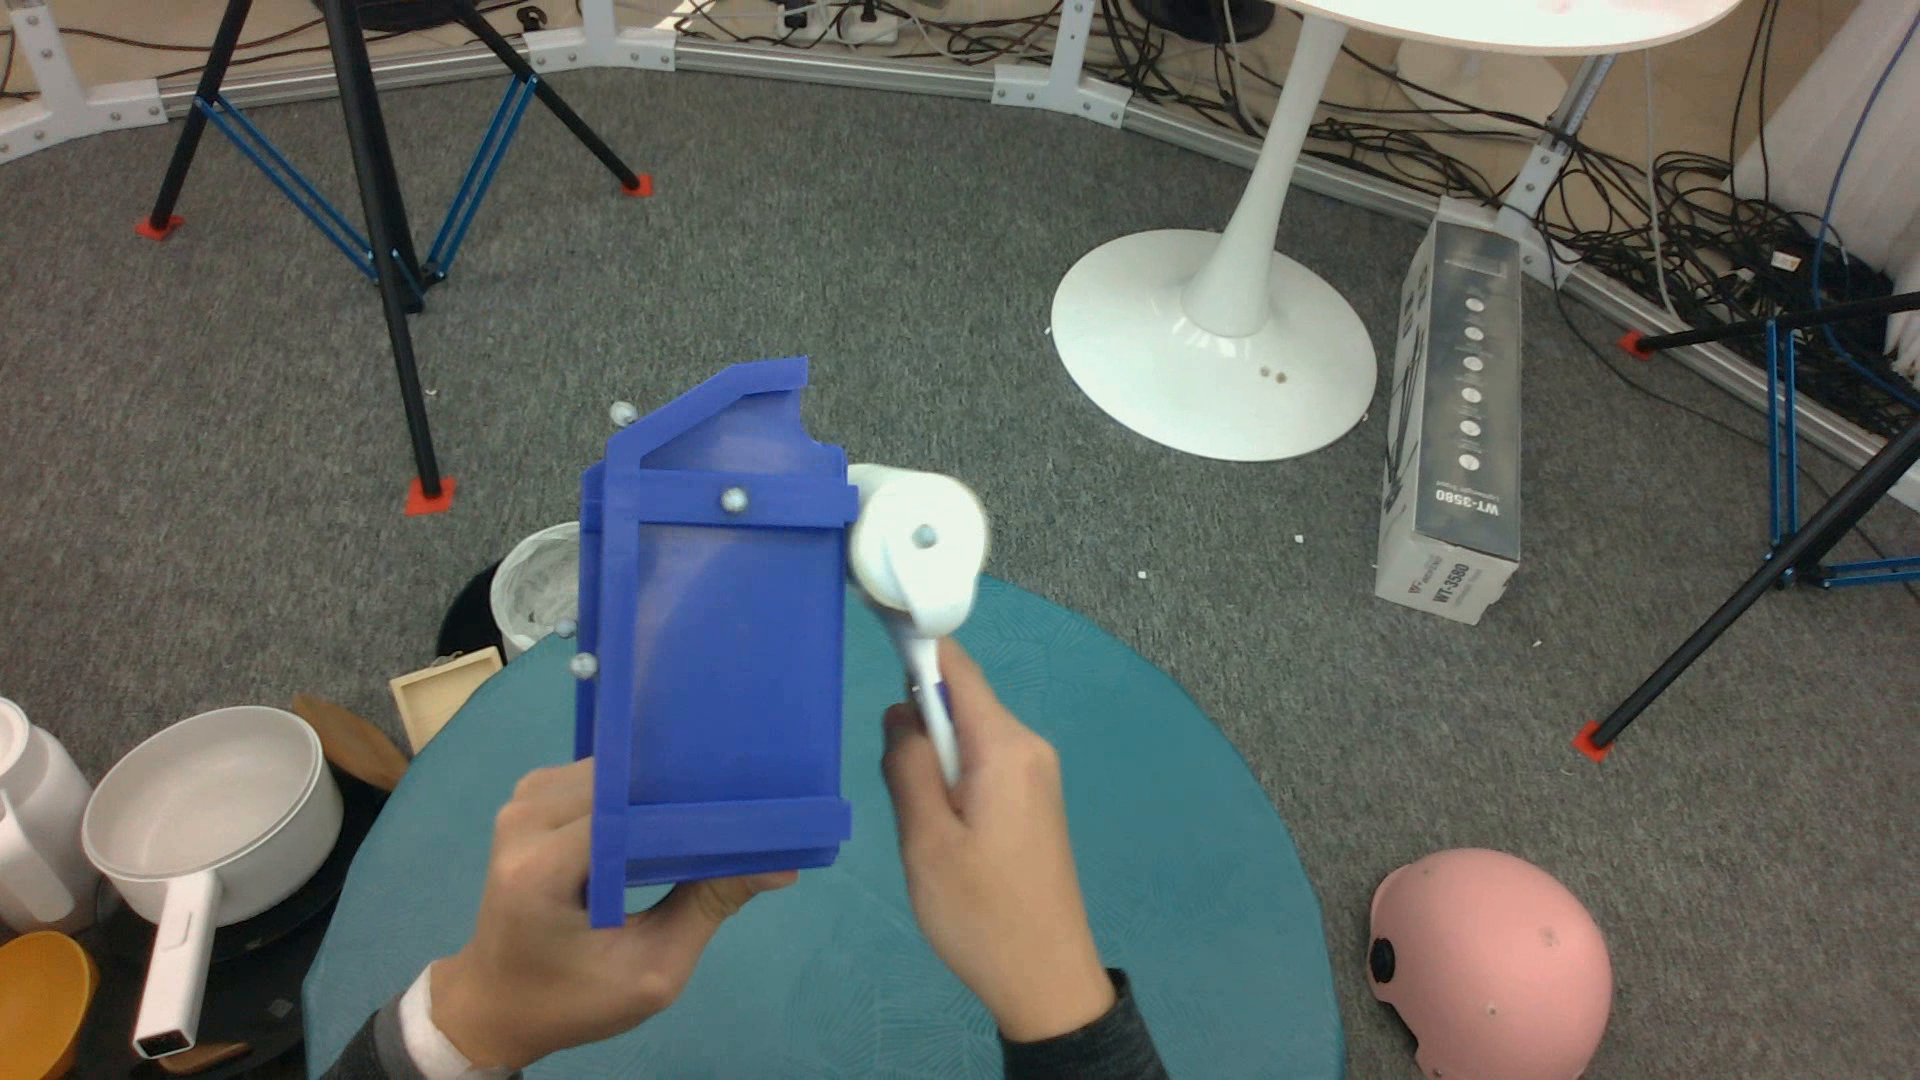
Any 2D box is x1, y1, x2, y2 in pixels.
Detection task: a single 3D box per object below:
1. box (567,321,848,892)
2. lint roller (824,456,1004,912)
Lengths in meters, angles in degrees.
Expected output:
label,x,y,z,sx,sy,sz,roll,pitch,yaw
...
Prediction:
label,x,y,z,sx,sy,sz,roll,pitch,yaw
box,-0.095,0.019,0.493,0.082,0.124,0.179,-1,89,-20
lint roller,-0.004,0.054,0.519,0.050,0.133,0.180,-26,101,-15
